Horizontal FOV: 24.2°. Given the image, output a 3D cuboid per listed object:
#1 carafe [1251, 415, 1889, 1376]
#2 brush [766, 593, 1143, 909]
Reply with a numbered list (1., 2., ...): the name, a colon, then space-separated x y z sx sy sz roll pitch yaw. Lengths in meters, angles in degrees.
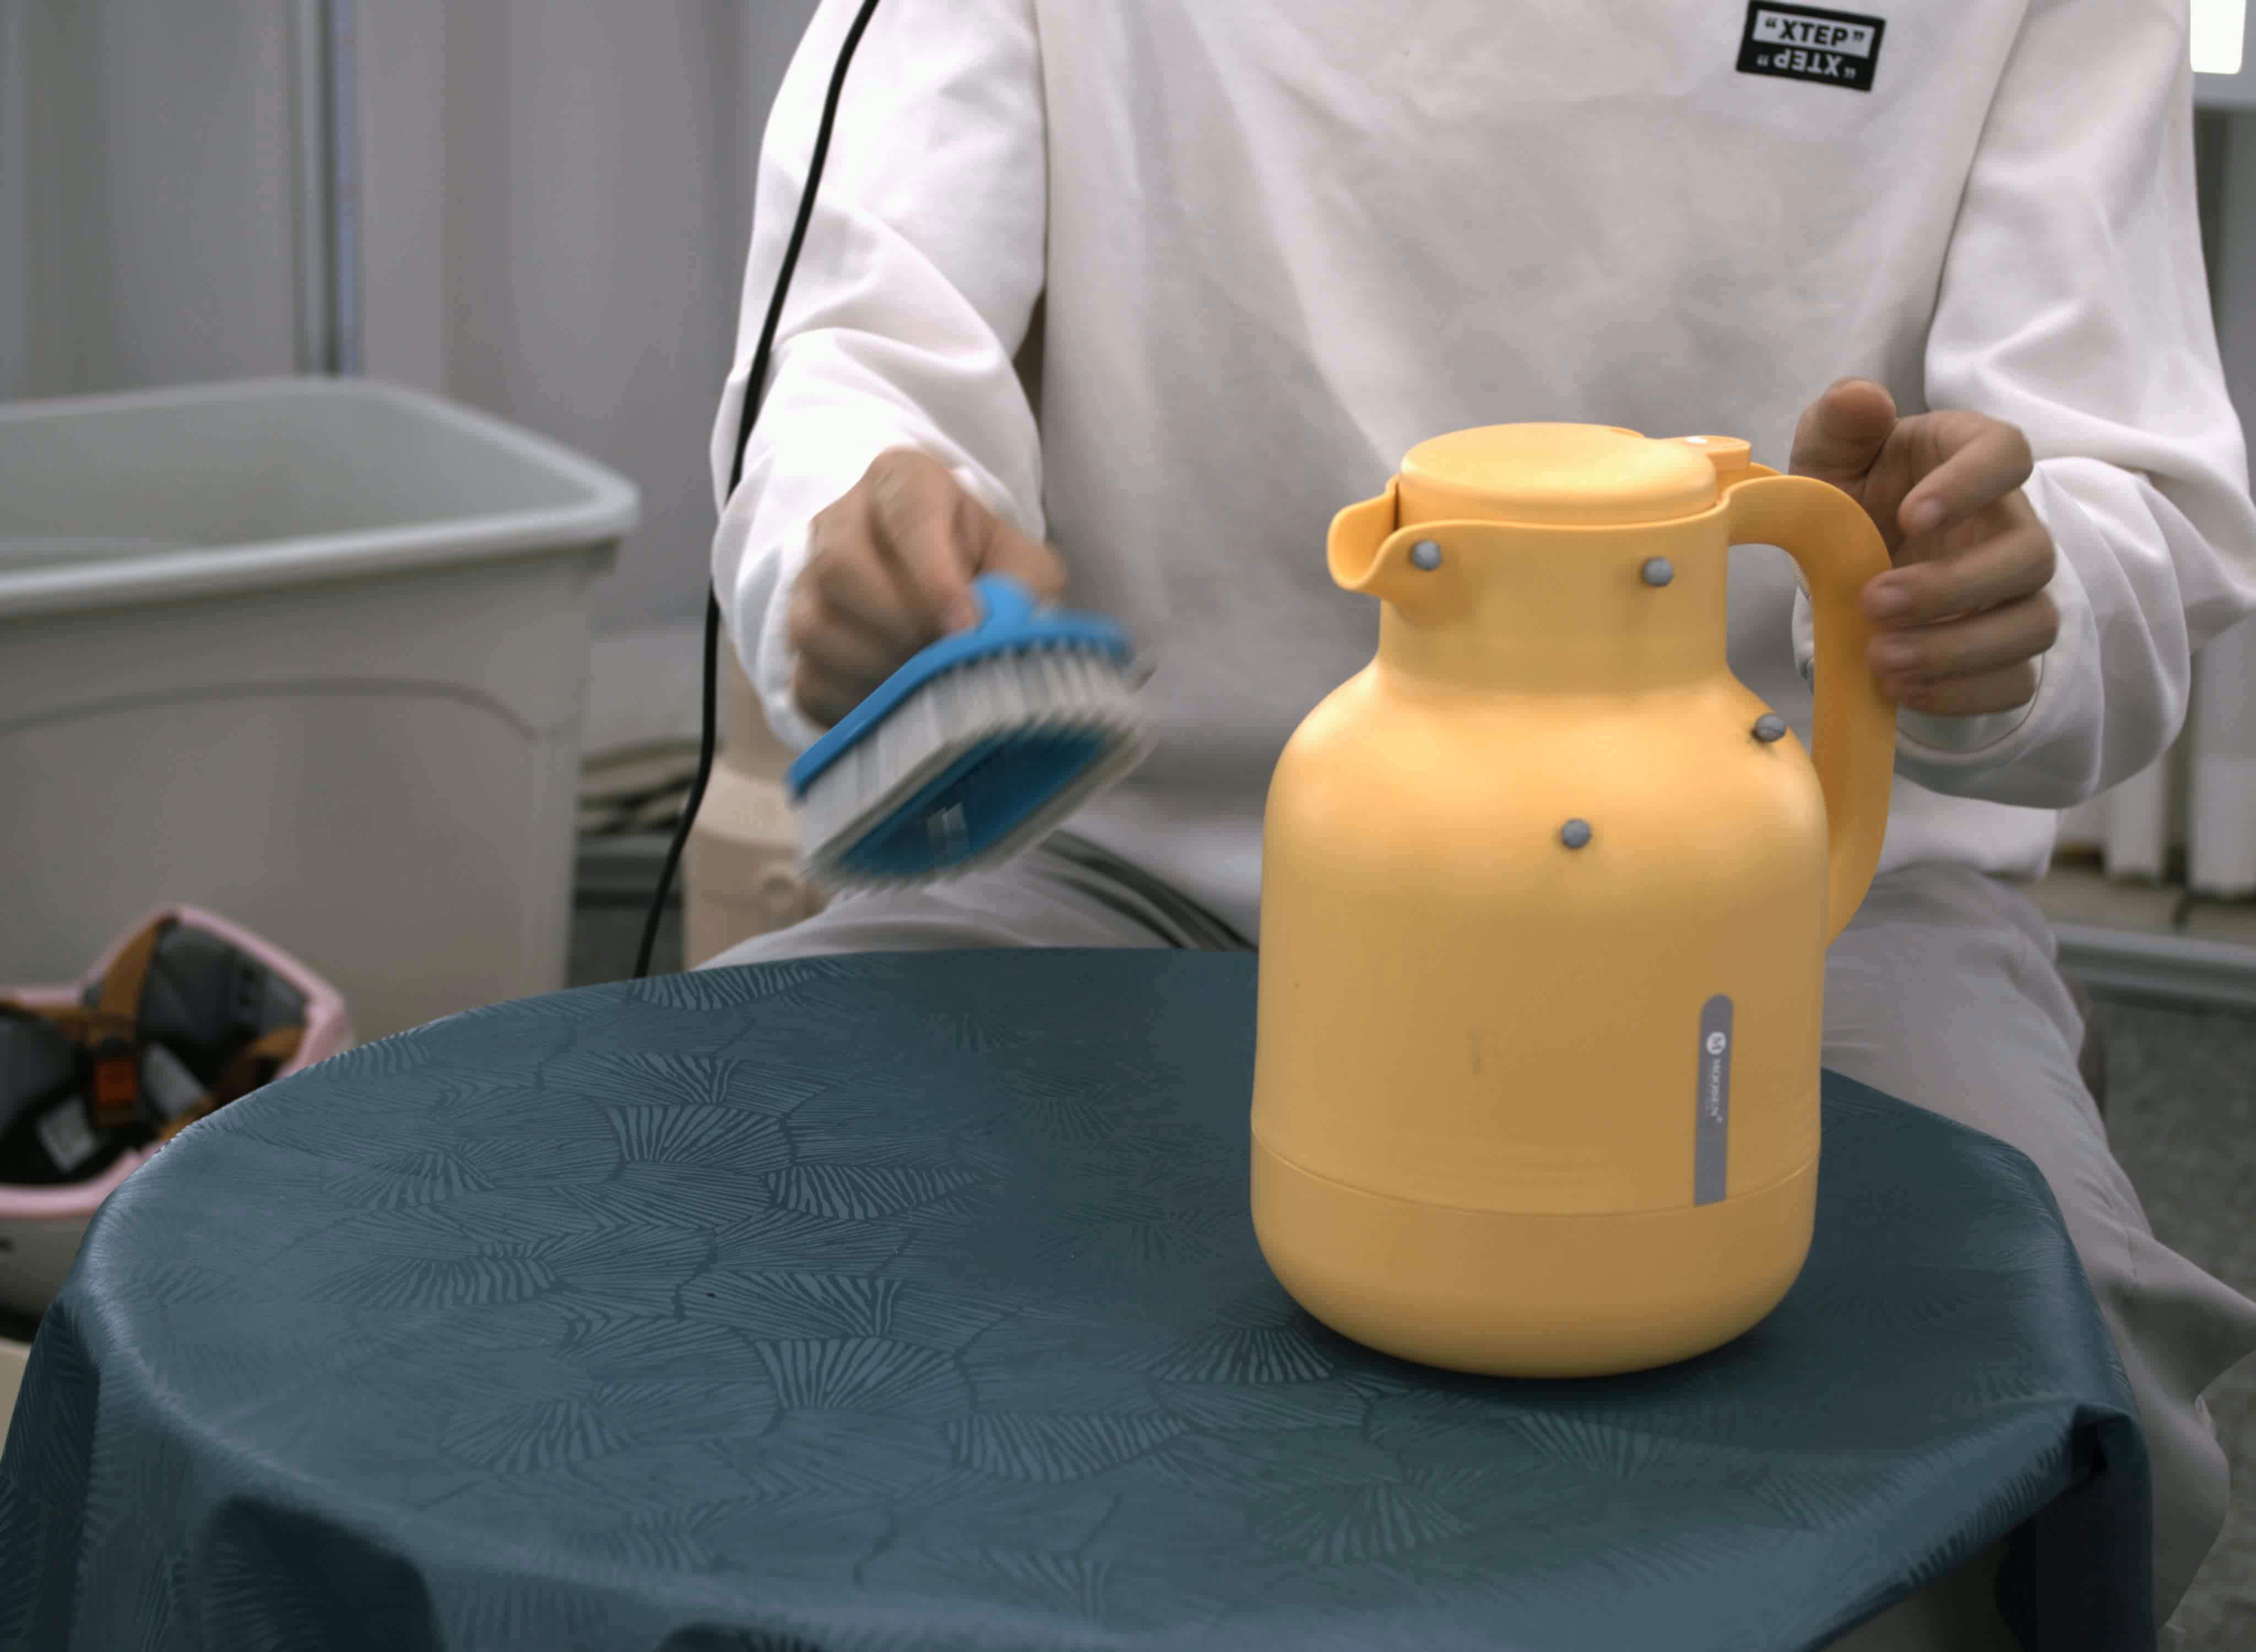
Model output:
1. carafe: 0.134 0.013 1.505 0.203 0.263 0.161 -11 22 -32
2. brush: -0.058 -0.029 1.581 0.085 0.063 0.141 -5 -20 -33
